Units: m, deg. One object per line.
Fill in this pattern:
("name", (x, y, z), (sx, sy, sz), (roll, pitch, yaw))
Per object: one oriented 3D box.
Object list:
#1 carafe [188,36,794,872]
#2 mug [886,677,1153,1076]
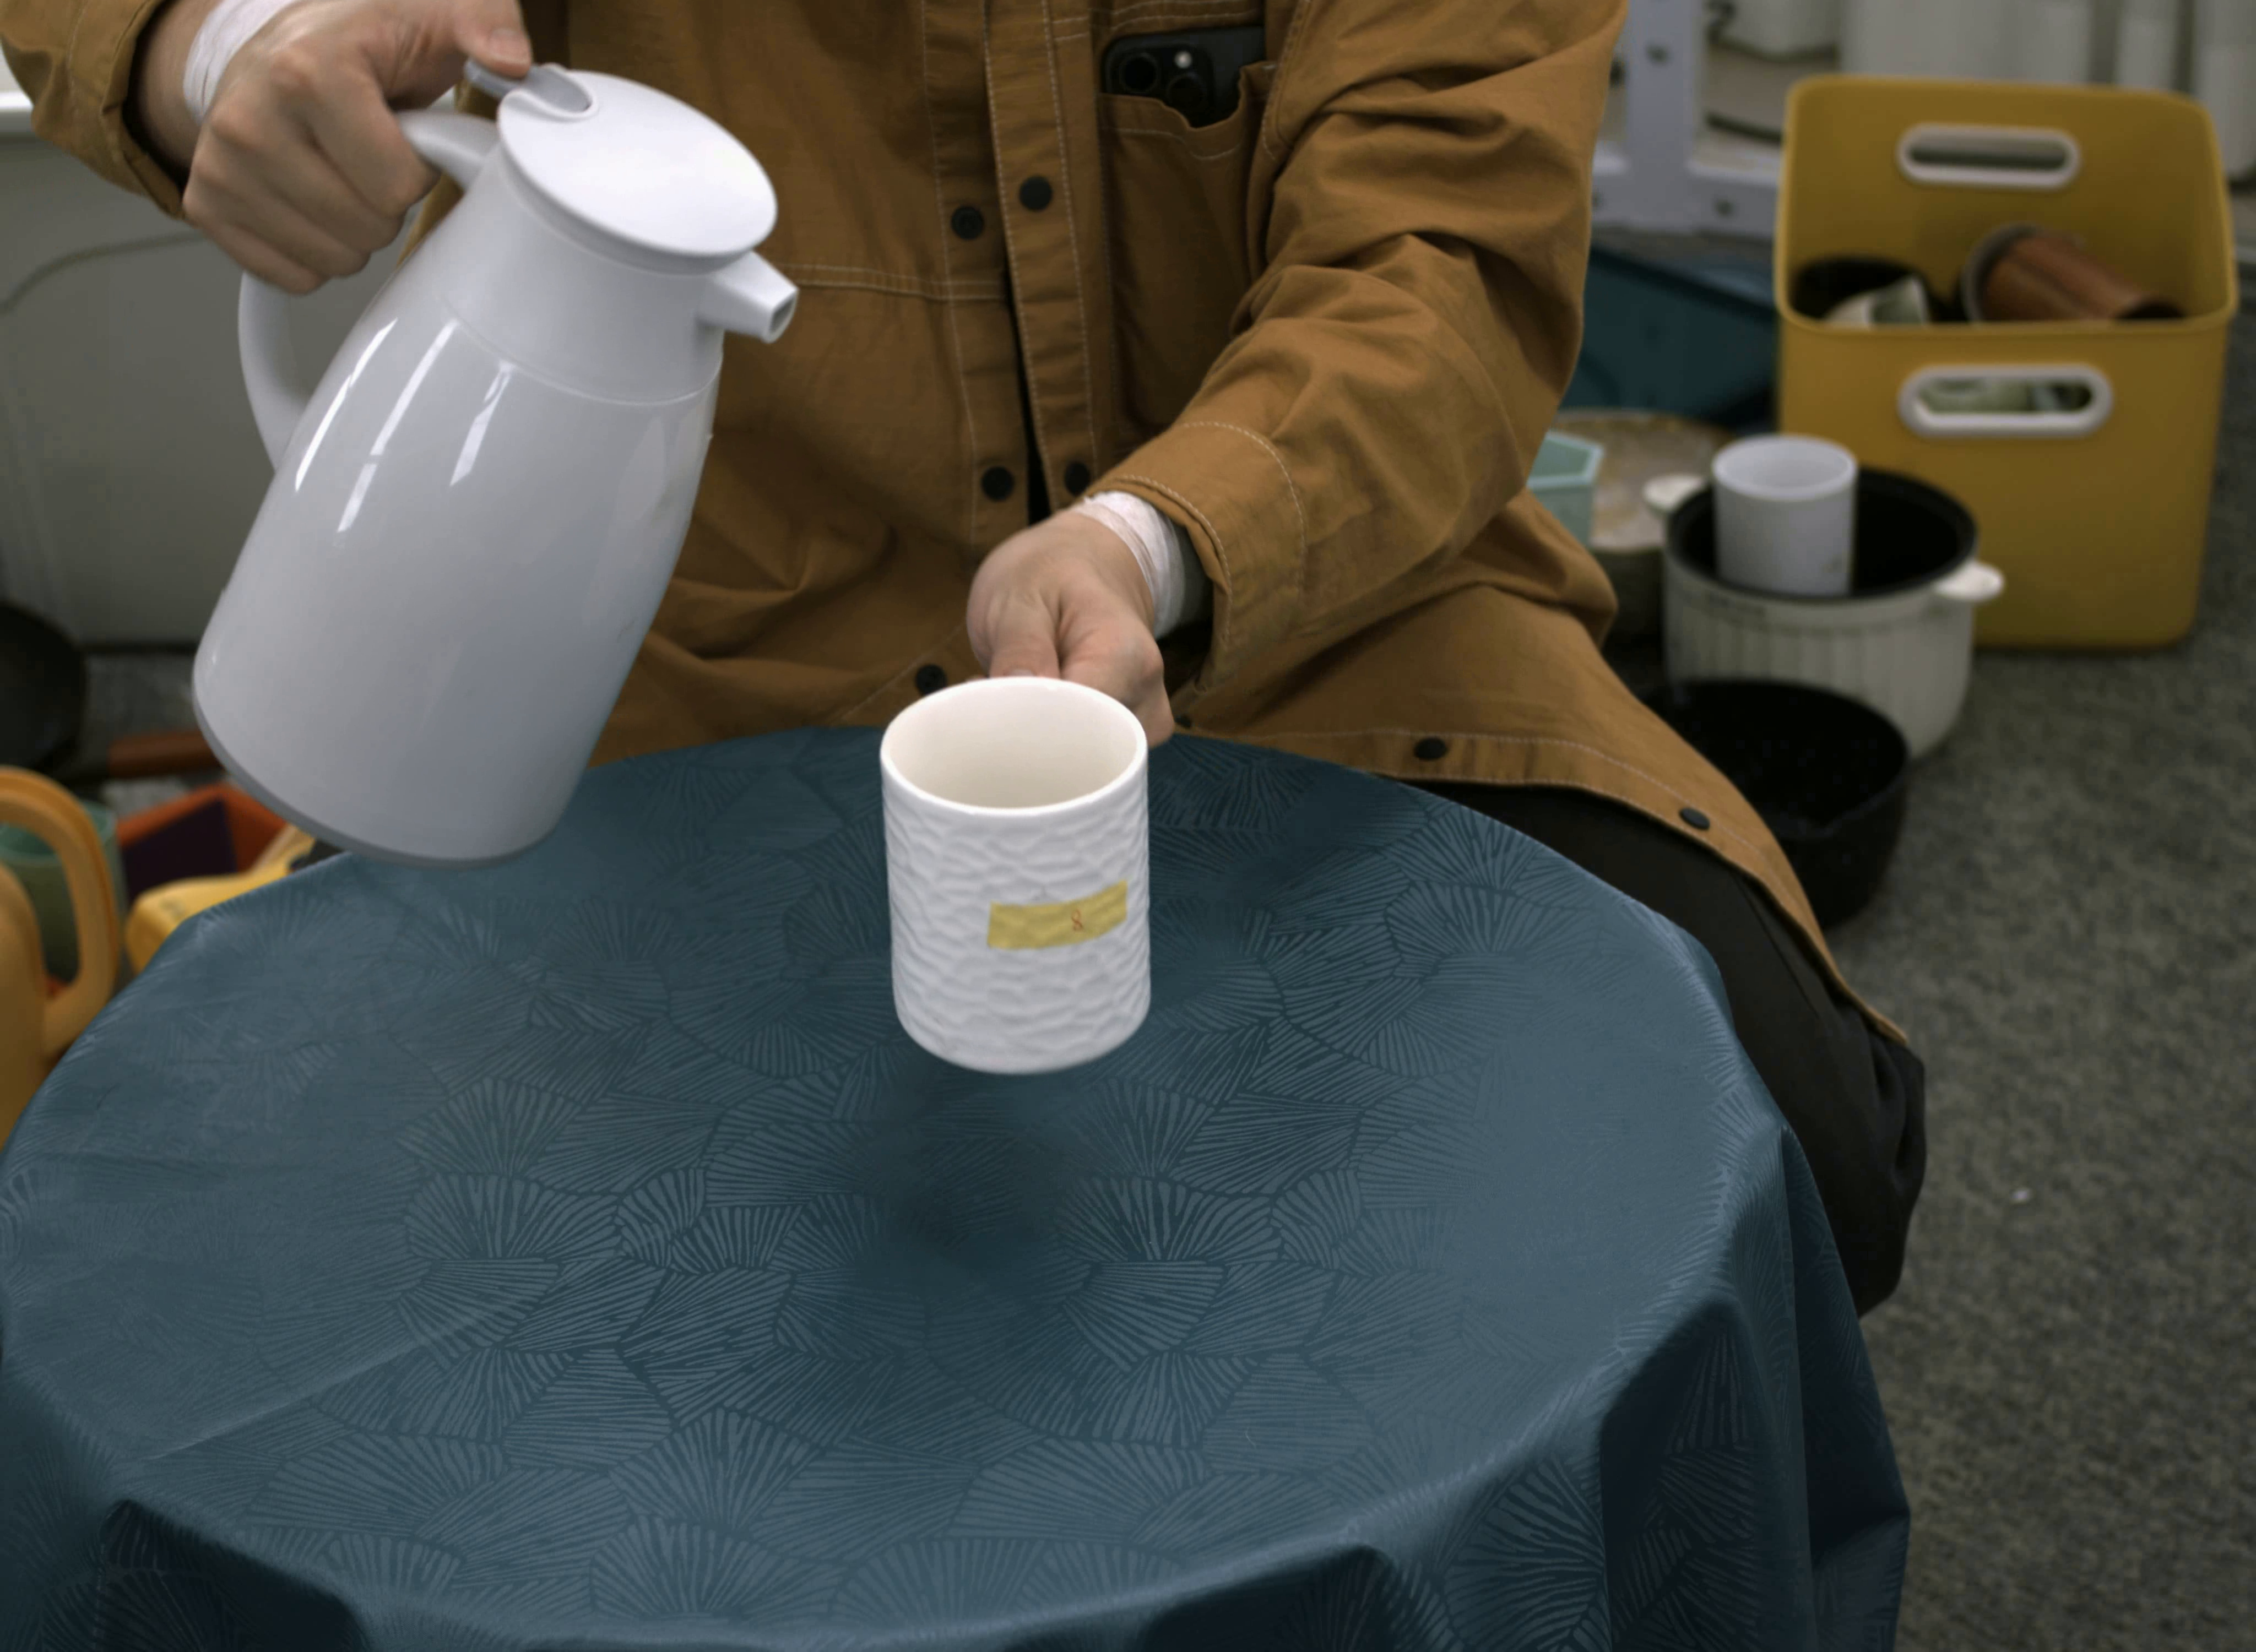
("carafe", (-0.215, -0.129, 1.796), (0.167, 0.245, 0.134), (31, 32, 6))
("mug", (-0.035, 0.009, 1.815), (0.084, 0.101, 0.120), (-1, 29, -2))
